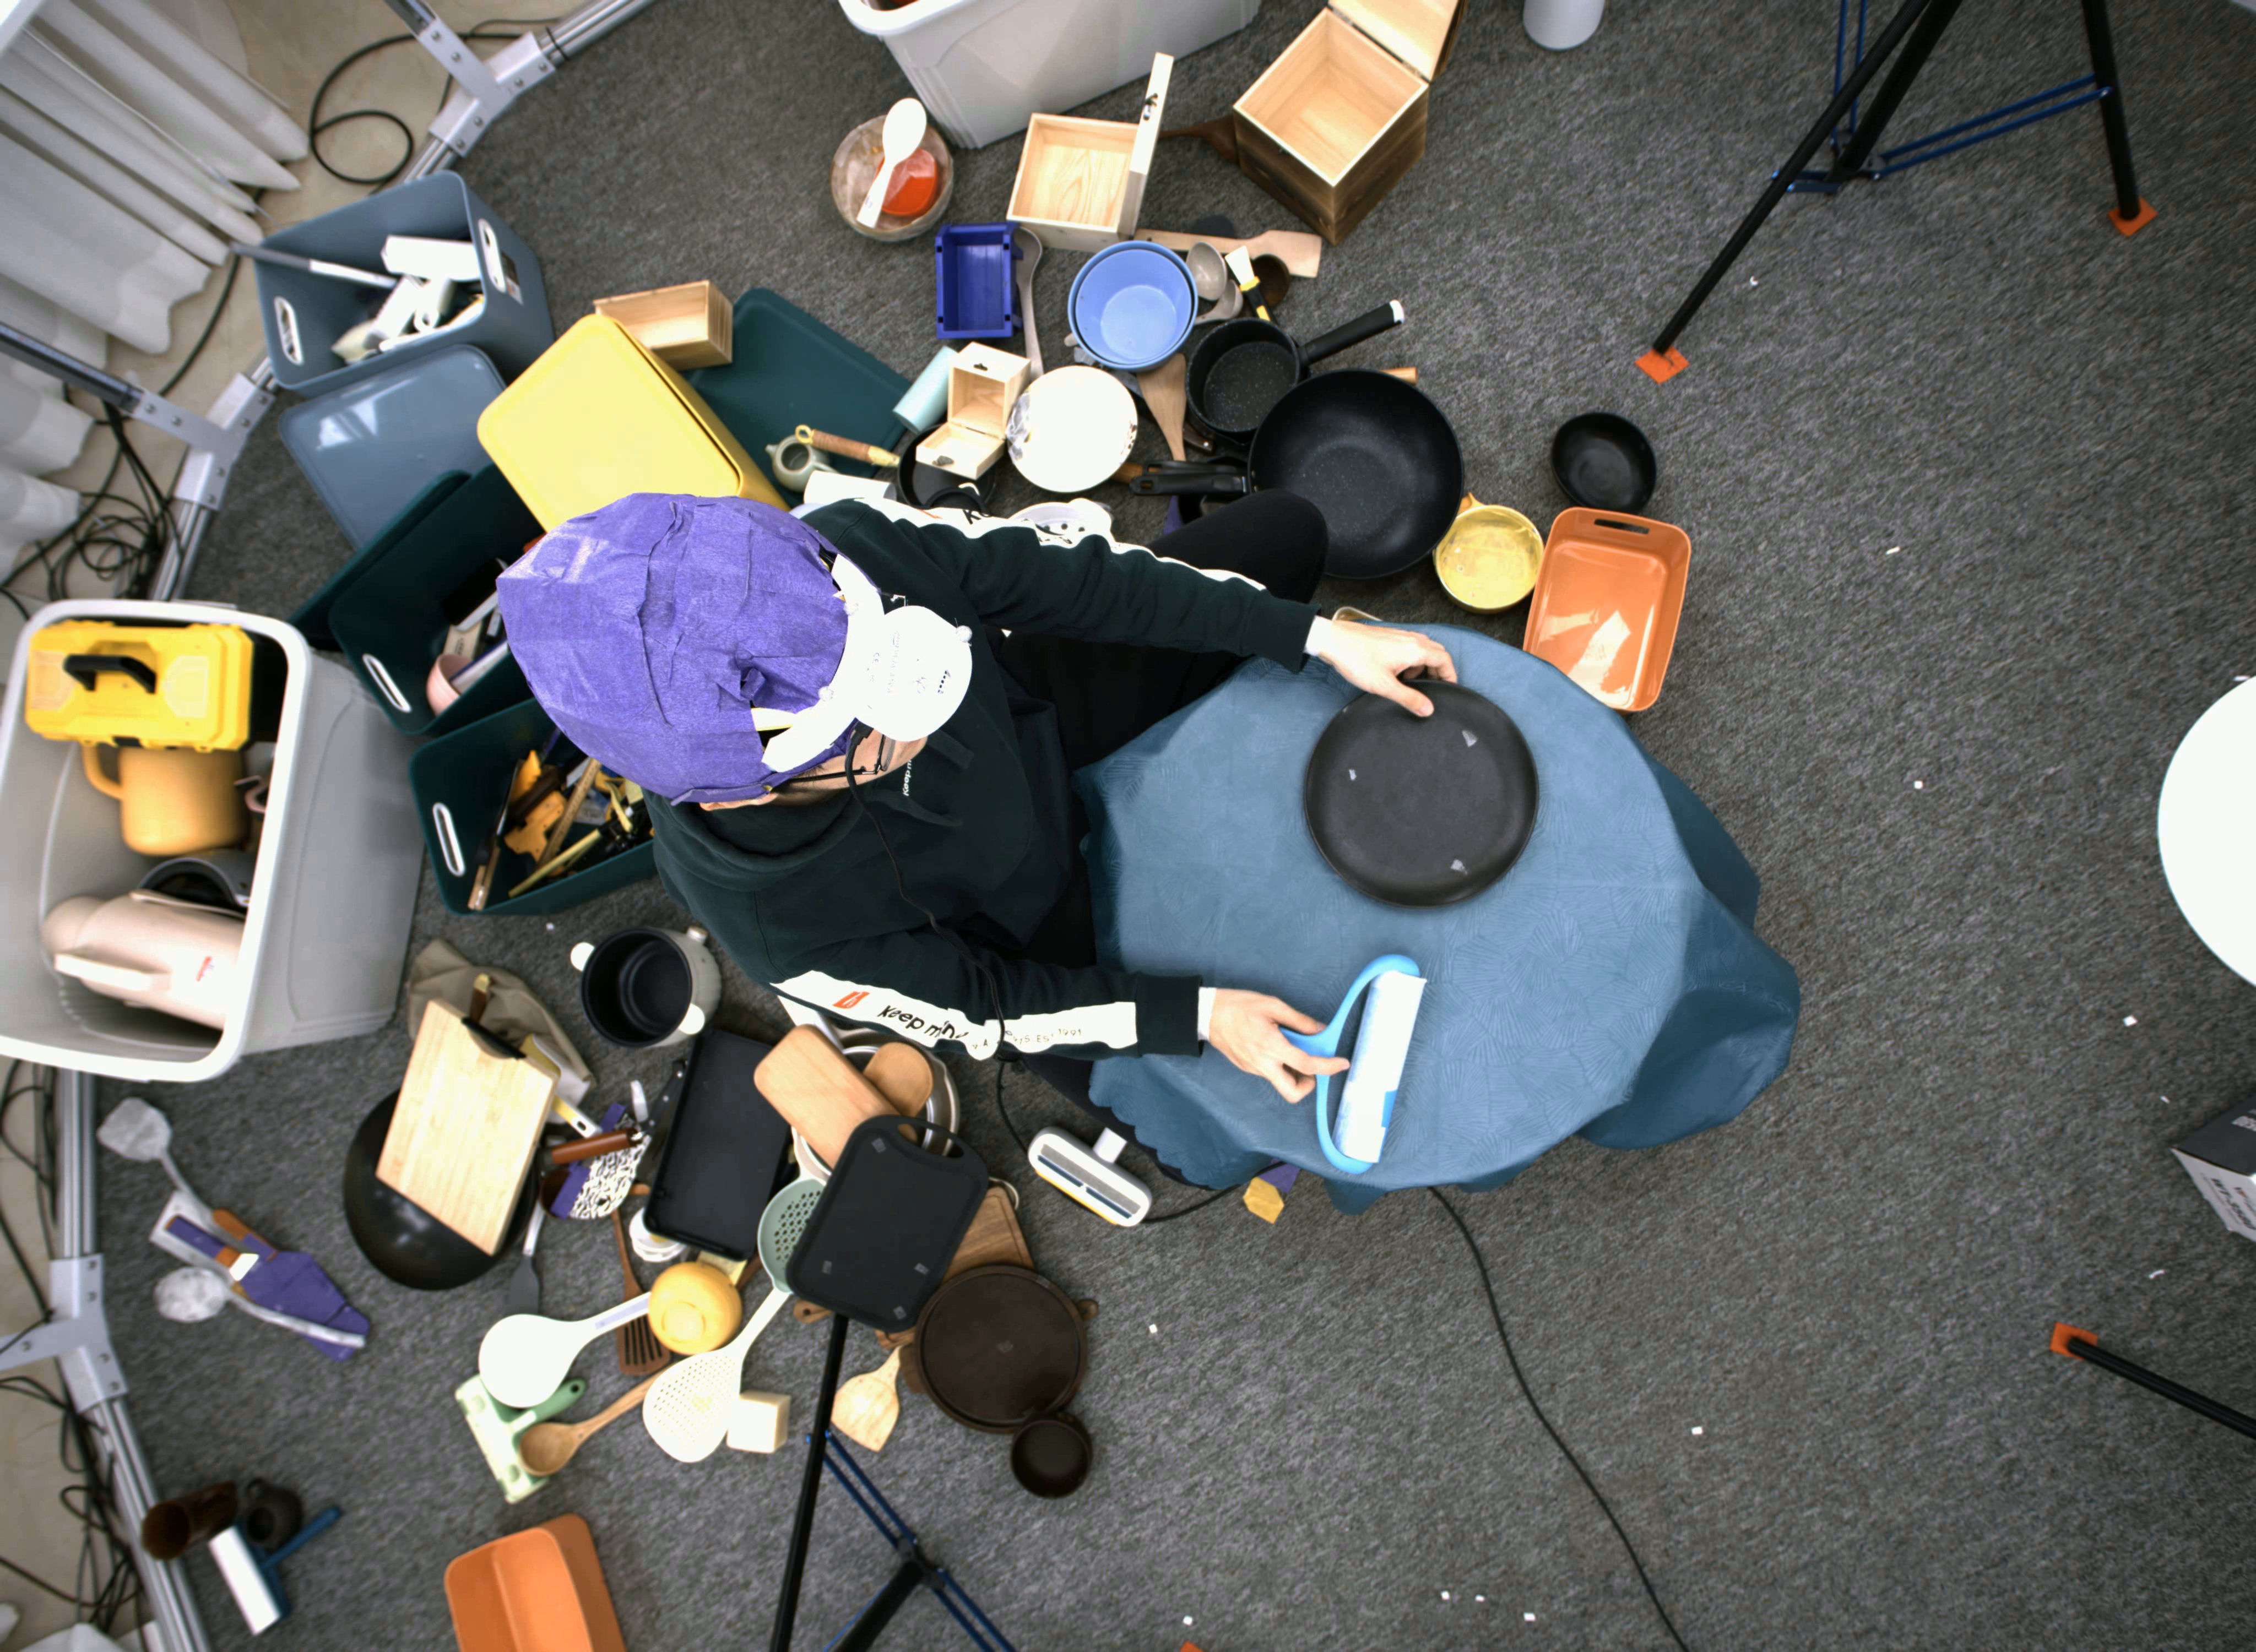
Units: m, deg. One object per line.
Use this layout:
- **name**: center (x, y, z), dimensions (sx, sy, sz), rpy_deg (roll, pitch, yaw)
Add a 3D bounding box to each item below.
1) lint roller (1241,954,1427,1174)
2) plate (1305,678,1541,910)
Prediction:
- **lint roller**: center (0.202, 0.232, 1.432), dimensions (0.180, 0.068, 0.228), rpy_deg (11, 90, 11)
- **plate**: center (0.308, -0.035, 1.442), dimensions (0.245, 0.023, 0.243), rpy_deg (-1, 87, 10)
